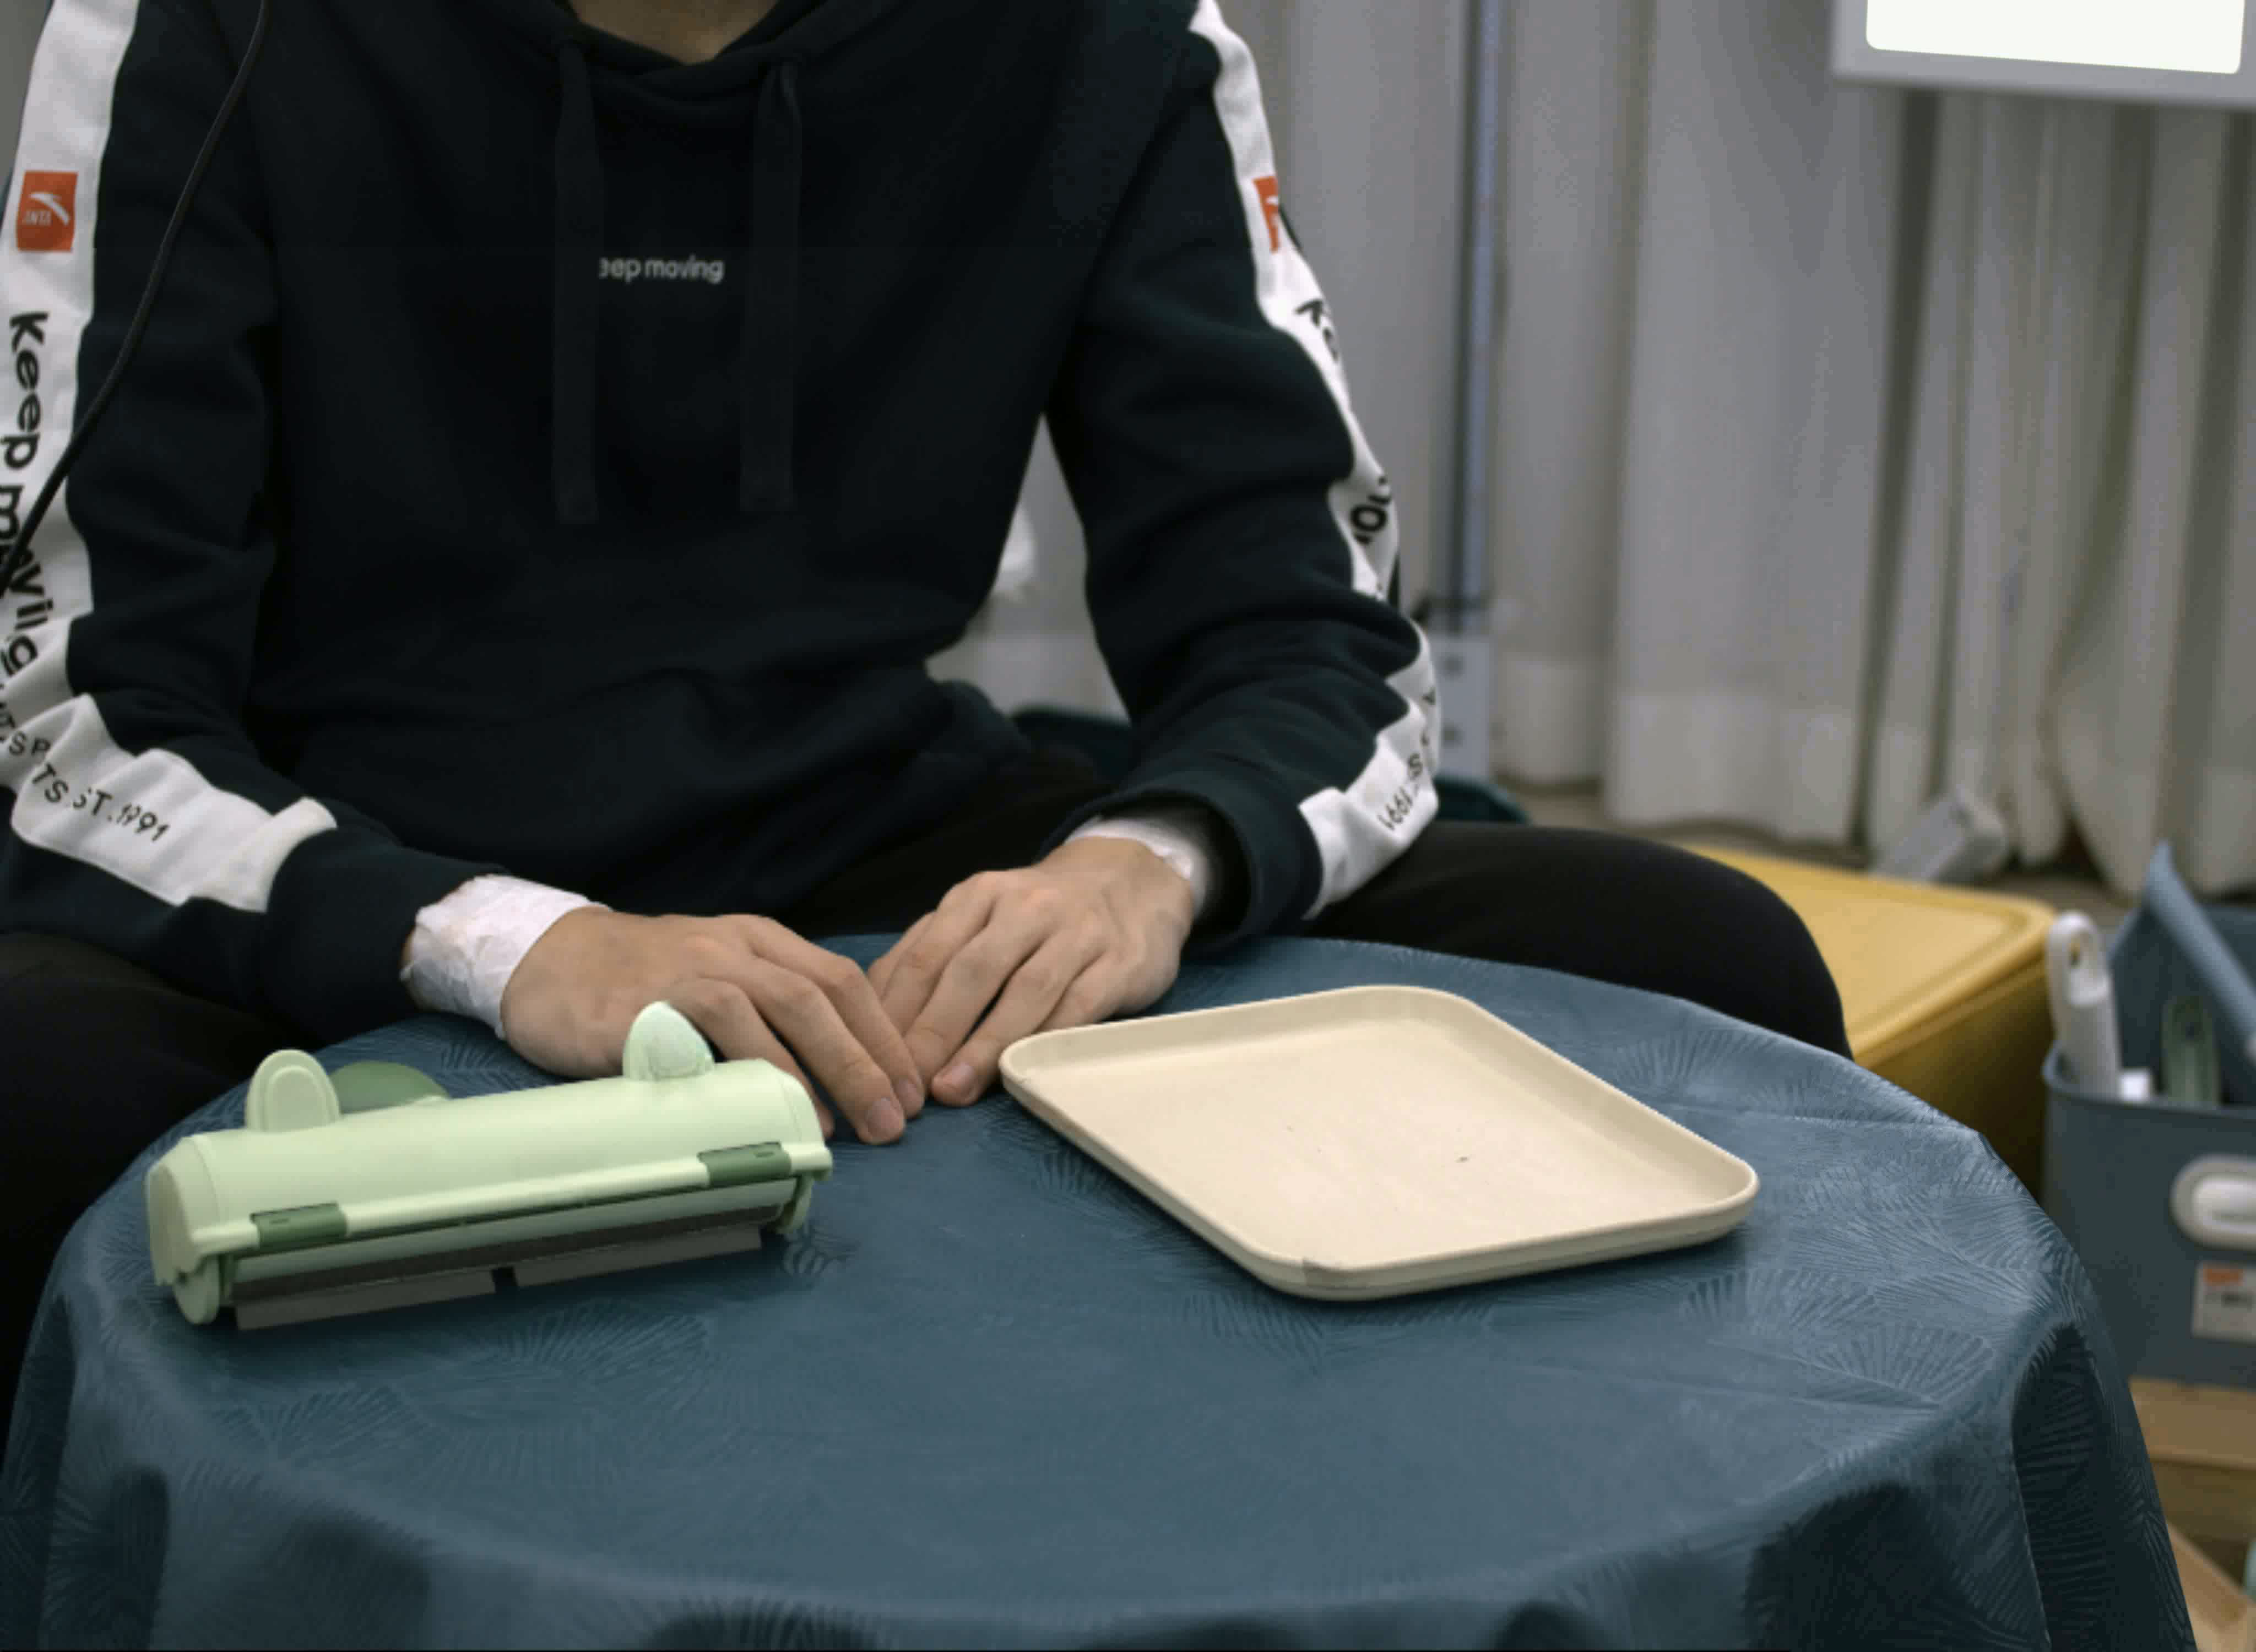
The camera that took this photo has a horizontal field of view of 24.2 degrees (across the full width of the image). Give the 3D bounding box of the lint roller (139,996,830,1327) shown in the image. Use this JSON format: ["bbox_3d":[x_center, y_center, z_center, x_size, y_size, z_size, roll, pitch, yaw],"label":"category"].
[{"bbox_3d":[-0.210,0.082,1.579,0.199,0.083,0.181,-7,22,-25],"label":"lint roller"}]

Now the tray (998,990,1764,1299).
[{"bbox_3d":[0.075,0.098,1.641,0.172,0.017,0.237,-6,17,-25],"label":"tray"}]
